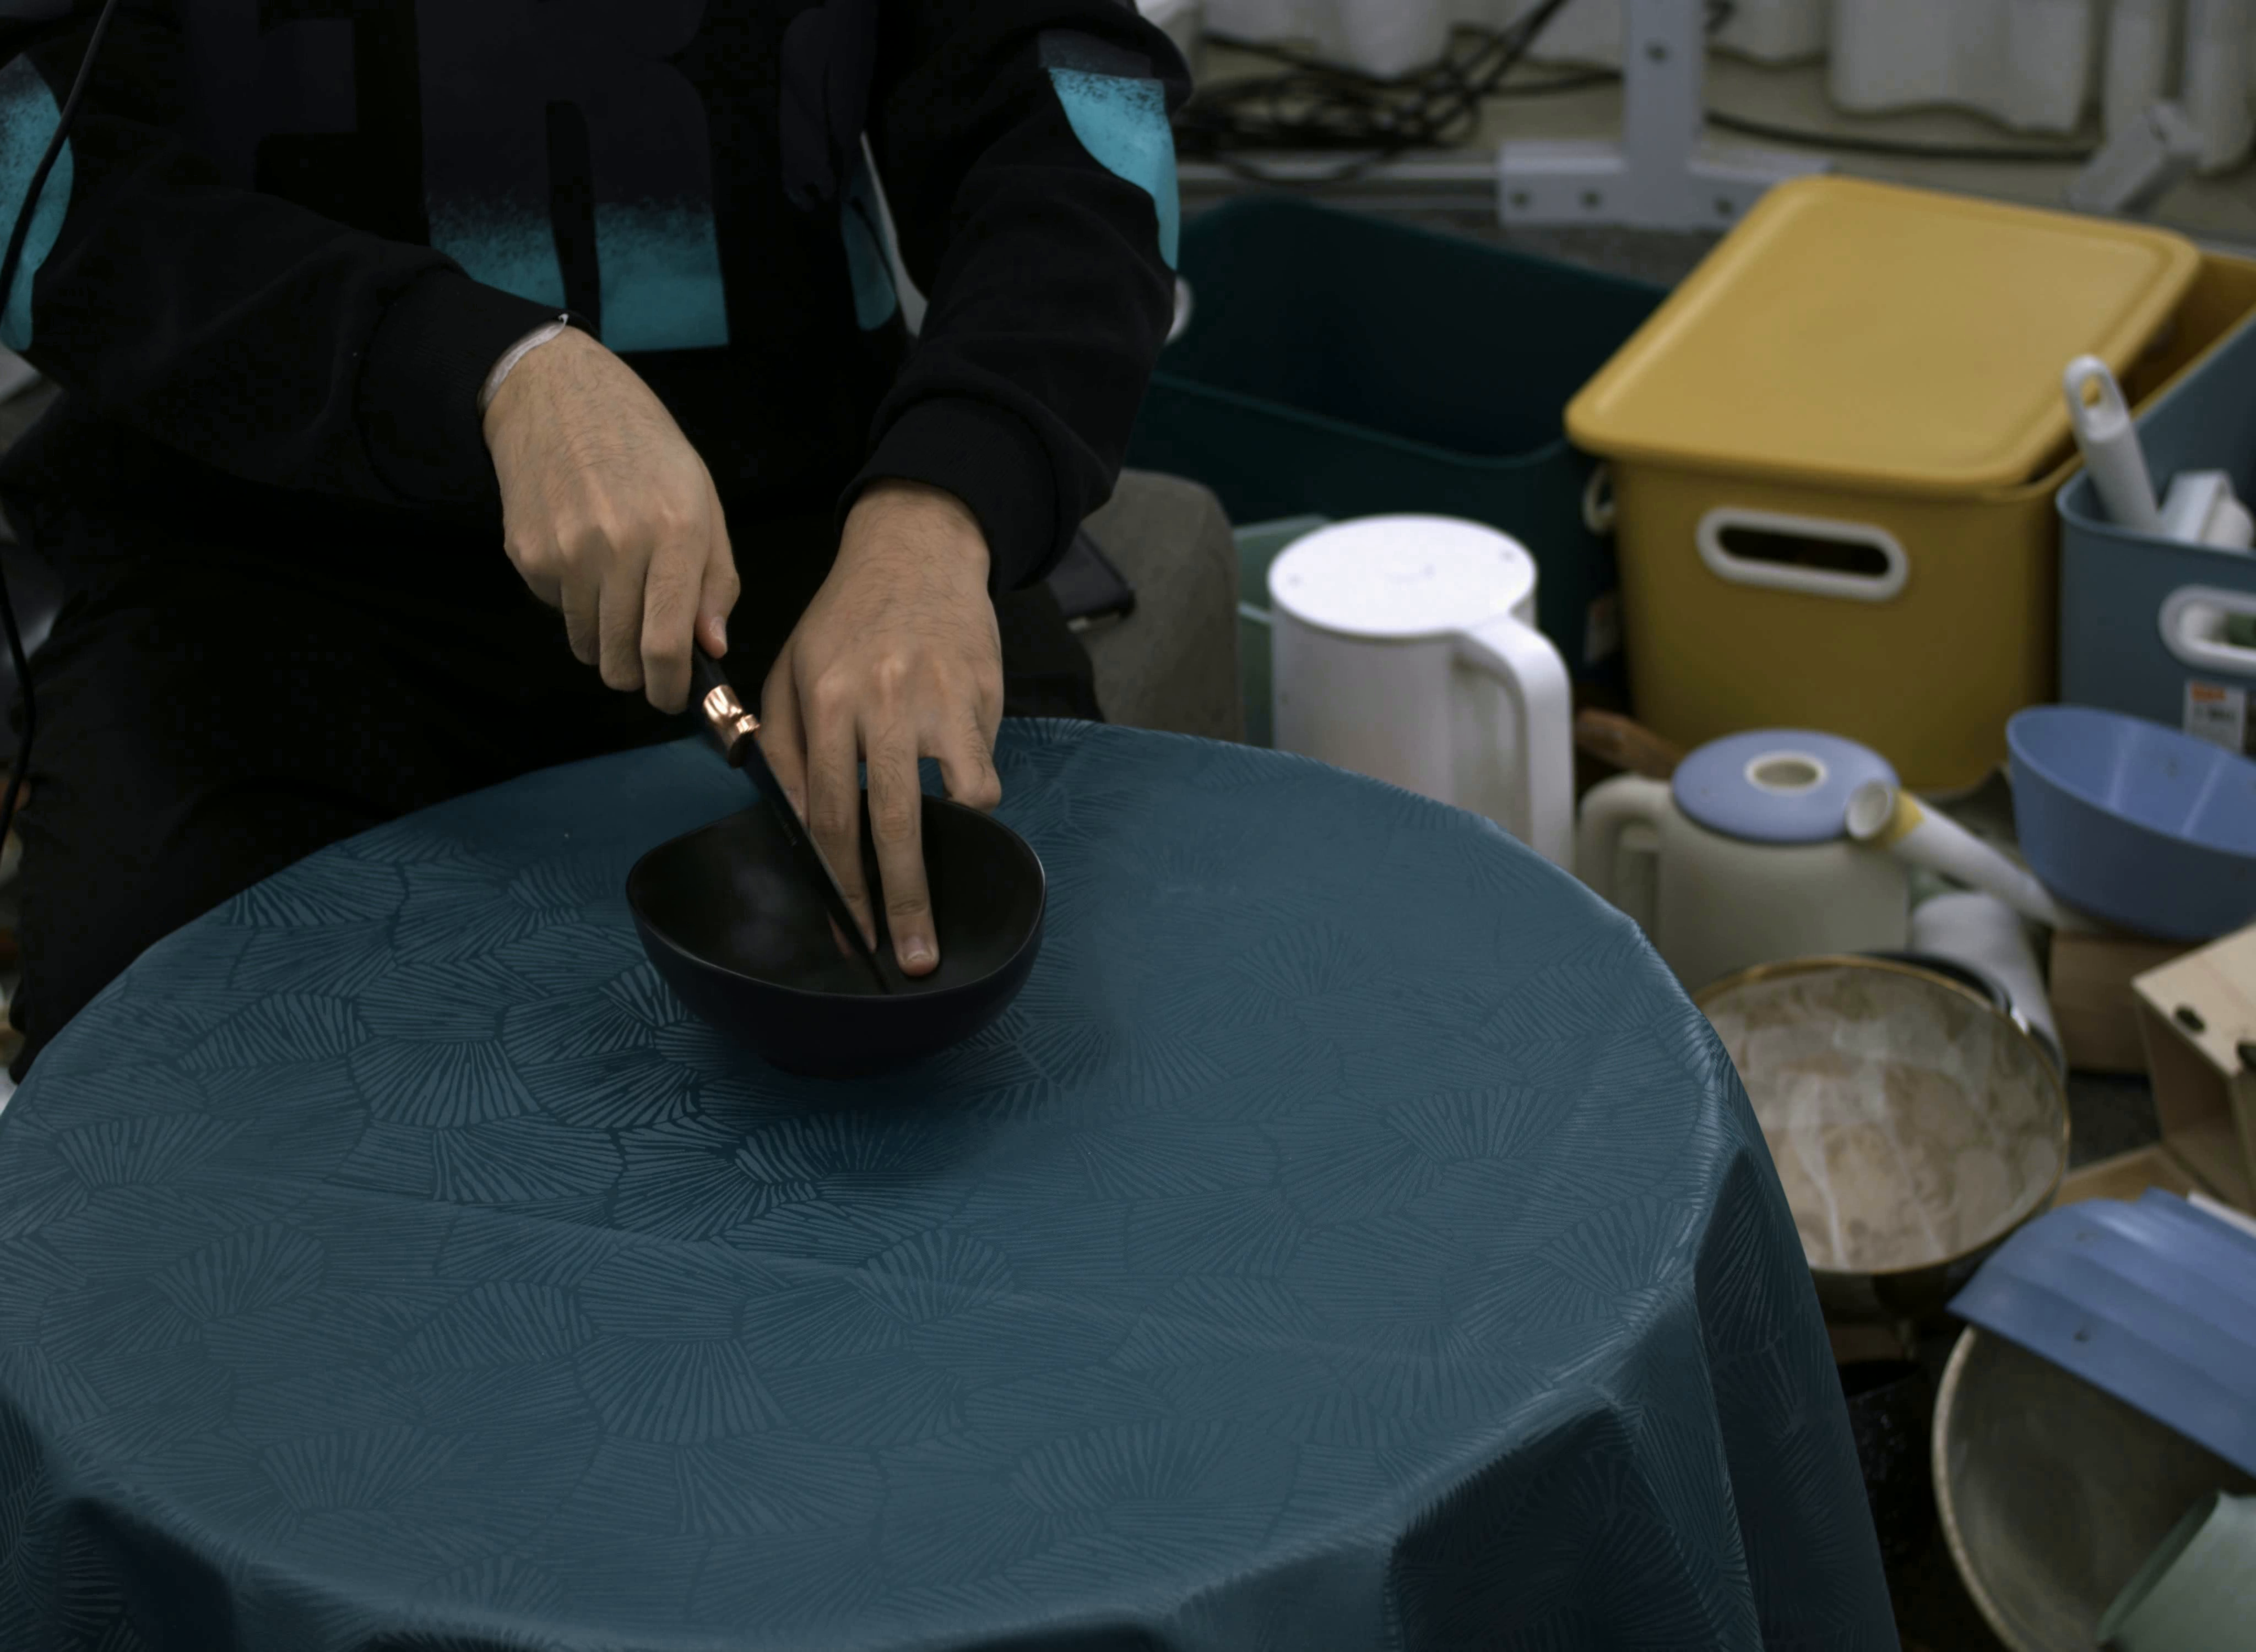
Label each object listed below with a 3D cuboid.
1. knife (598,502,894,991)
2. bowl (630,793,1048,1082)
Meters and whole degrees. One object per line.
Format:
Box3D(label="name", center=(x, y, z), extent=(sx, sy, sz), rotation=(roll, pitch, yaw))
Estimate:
Box3D(label="knife", center=(-0.133, -0.026, 1.975), extent=(0.017, 0.026, 0.228), rotation=(-19, 64, -23))
Box3D(label="bowl", center=(-0.100, 0.046, 1.948), extent=(0.138, 0.066, 0.170), rotation=(-21, 30, -31))
